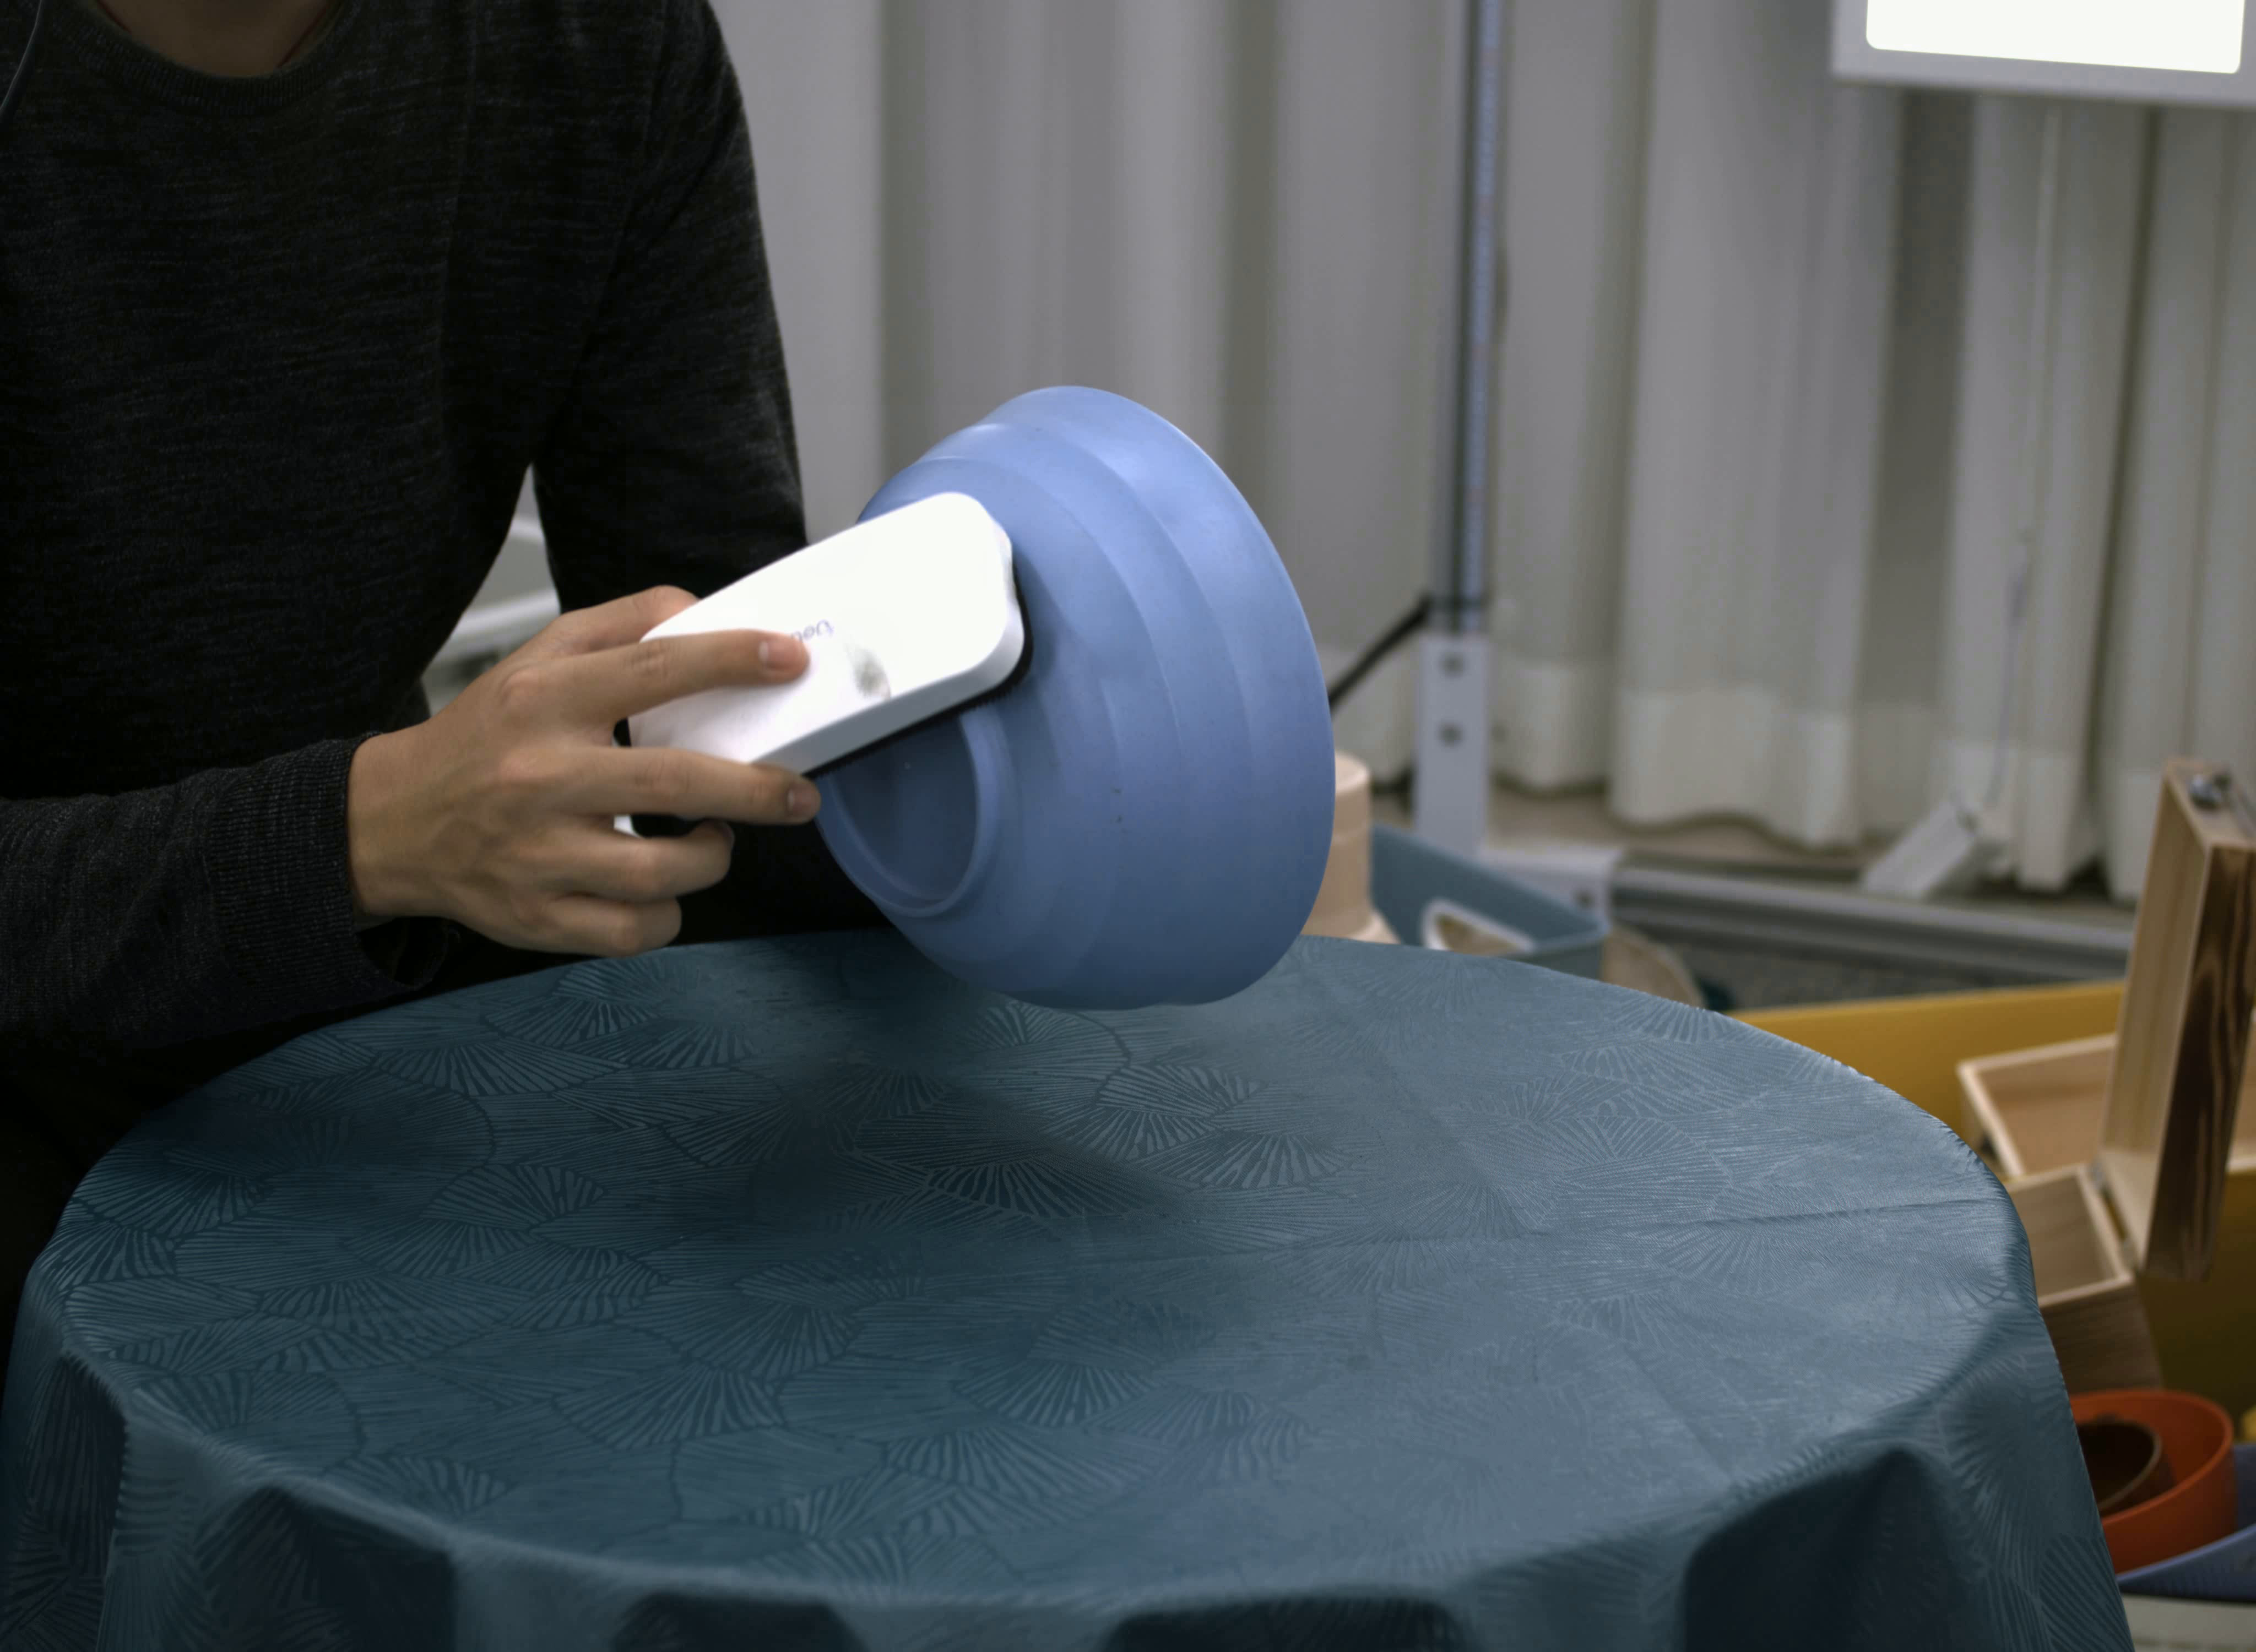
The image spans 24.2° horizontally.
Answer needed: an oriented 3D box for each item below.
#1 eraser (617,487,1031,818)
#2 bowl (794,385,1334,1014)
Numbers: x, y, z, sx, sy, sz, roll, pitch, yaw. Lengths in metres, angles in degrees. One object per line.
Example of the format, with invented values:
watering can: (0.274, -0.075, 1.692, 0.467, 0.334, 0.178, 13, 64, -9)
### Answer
eraser: (-0.091, -0.051, 1.535, 0.130, 0.063, 0.035, -22, -33, 21)
bowl: (-0.038, -0.028, 1.591, 0.096, 0.198, 0.194, -19, 25, -37)
